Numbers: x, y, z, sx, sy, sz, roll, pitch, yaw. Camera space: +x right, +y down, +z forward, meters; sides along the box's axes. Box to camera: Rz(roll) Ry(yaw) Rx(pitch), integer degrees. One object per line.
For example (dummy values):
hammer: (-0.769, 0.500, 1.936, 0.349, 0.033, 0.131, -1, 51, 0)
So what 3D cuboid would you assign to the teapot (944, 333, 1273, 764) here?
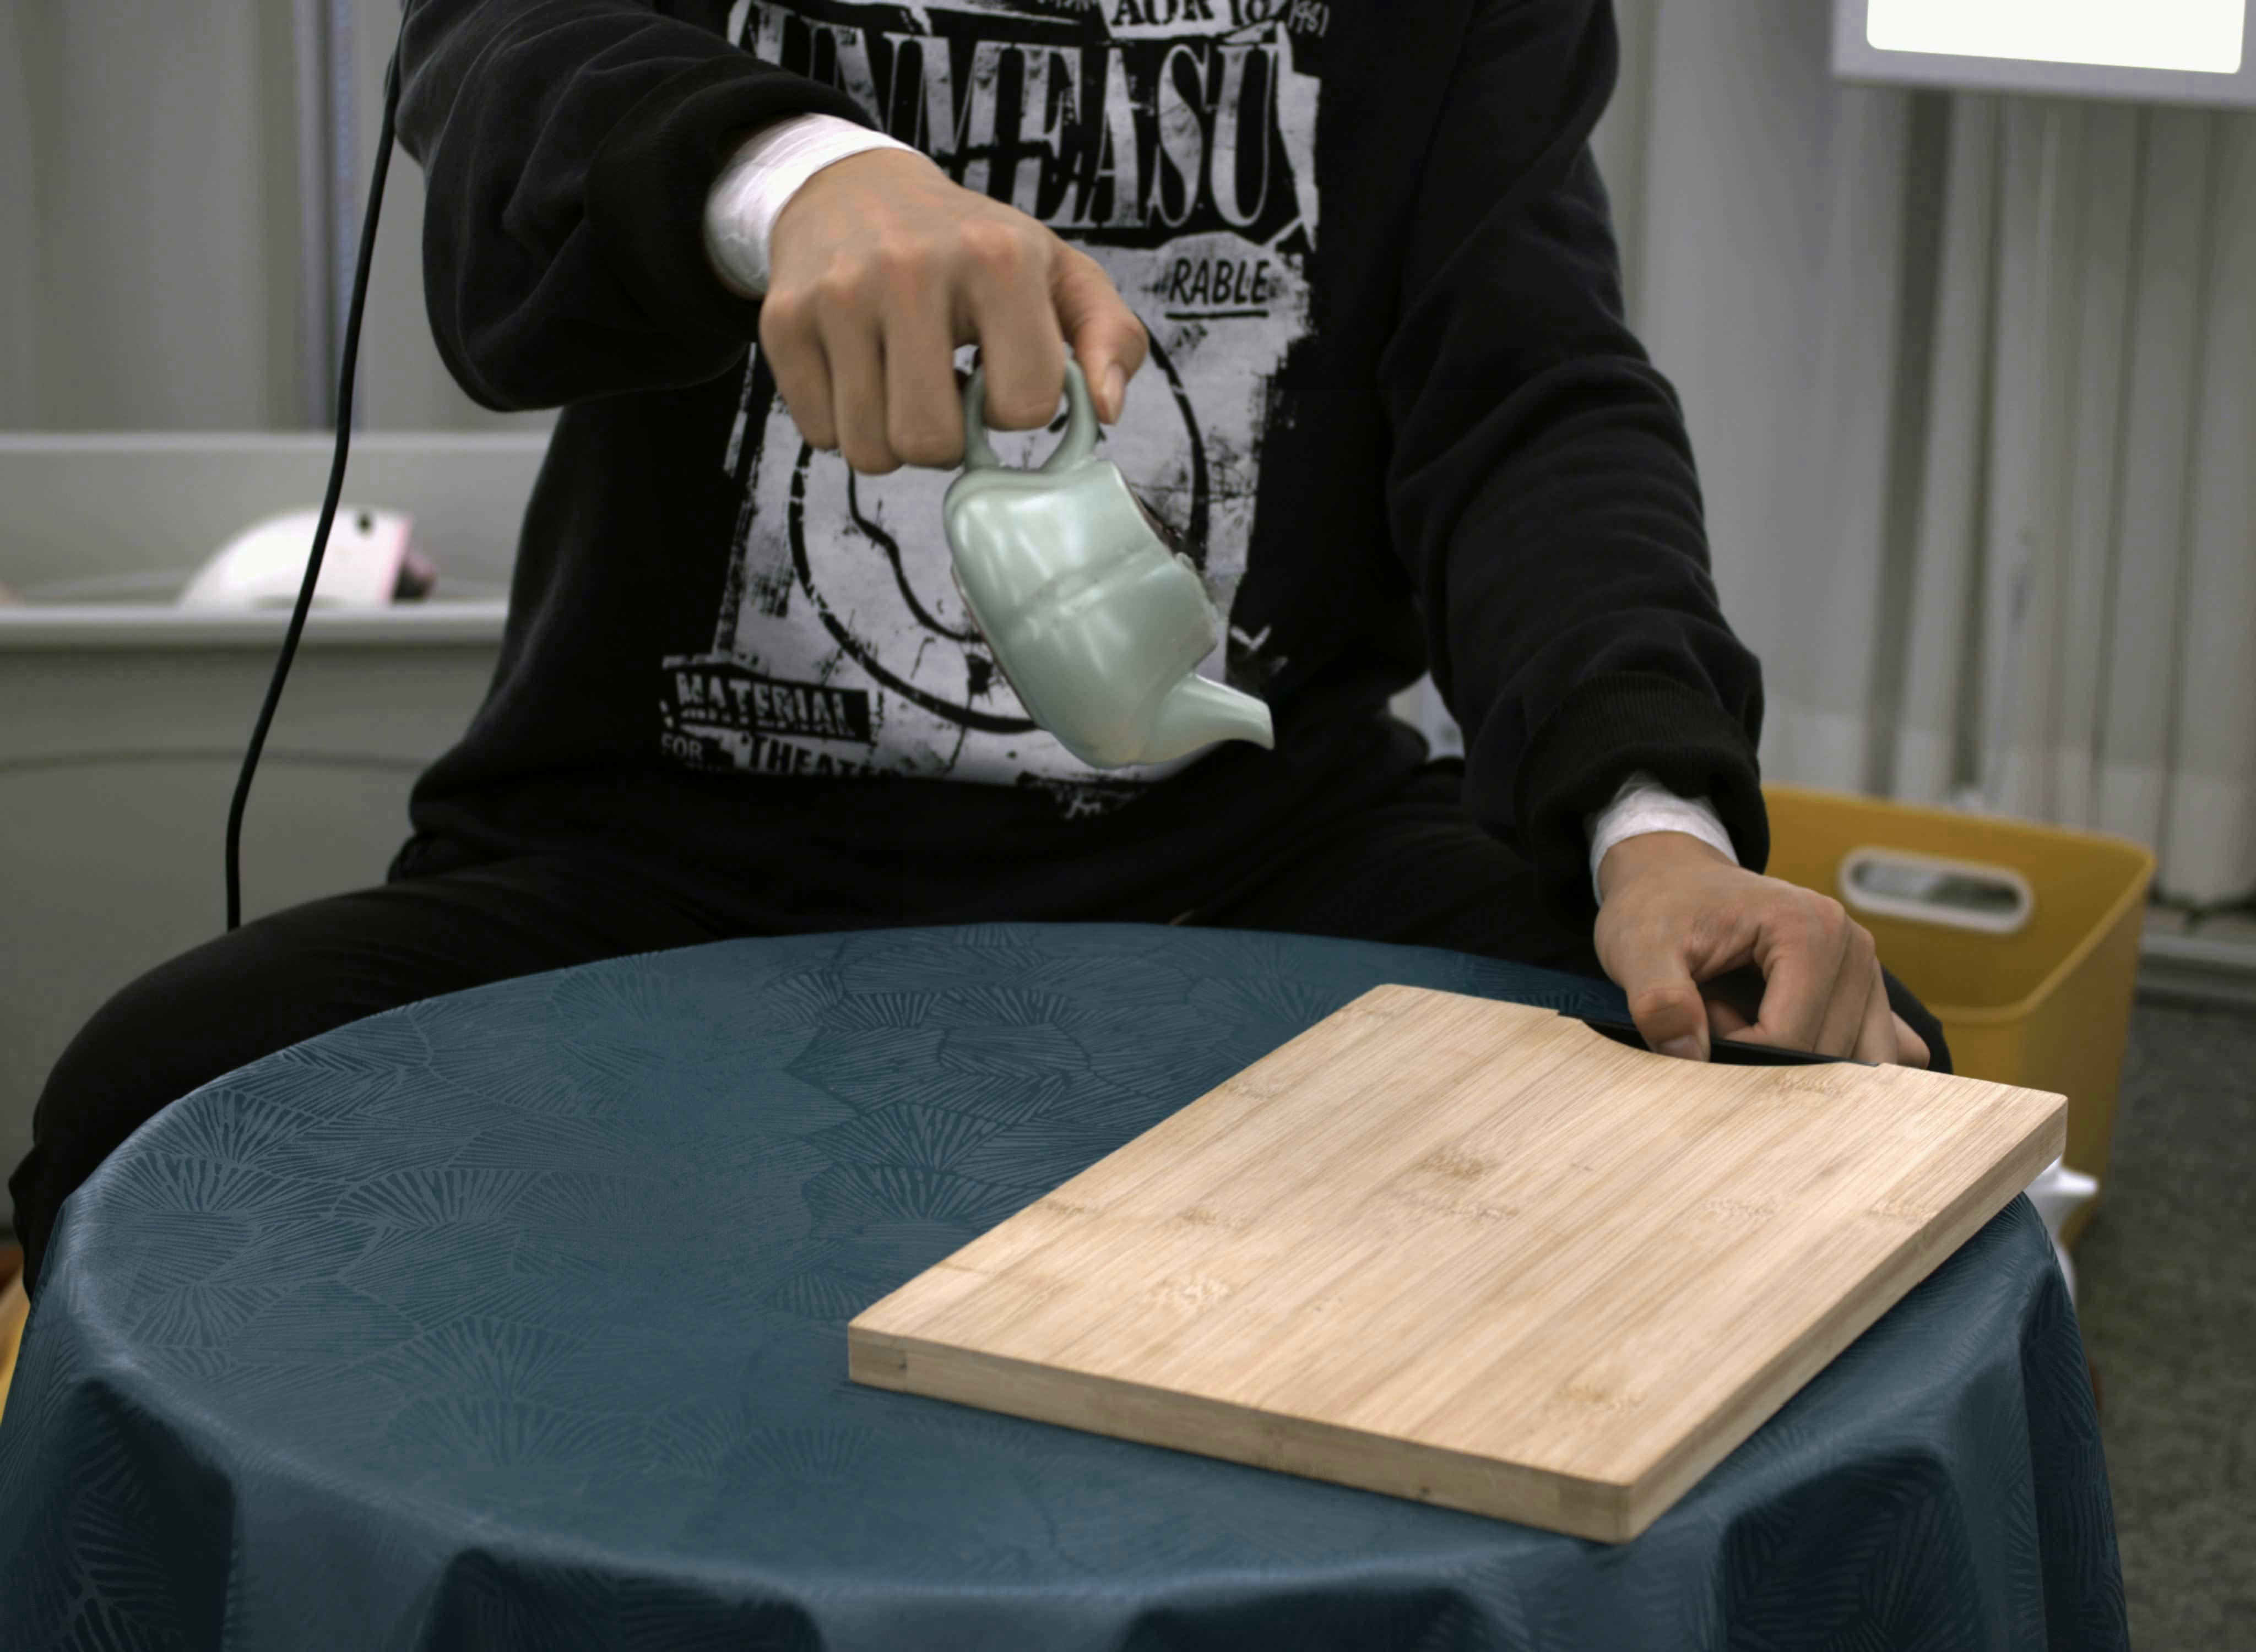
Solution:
teapot: (-0.014, -0.072, 1.493, 0.061, 0.137, 0.096, -27, 4, 3)

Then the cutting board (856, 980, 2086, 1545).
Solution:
cutting board: (0.110, 0.119, 1.558, 0.248, 0.024, 0.349, 9, 19, 26)
